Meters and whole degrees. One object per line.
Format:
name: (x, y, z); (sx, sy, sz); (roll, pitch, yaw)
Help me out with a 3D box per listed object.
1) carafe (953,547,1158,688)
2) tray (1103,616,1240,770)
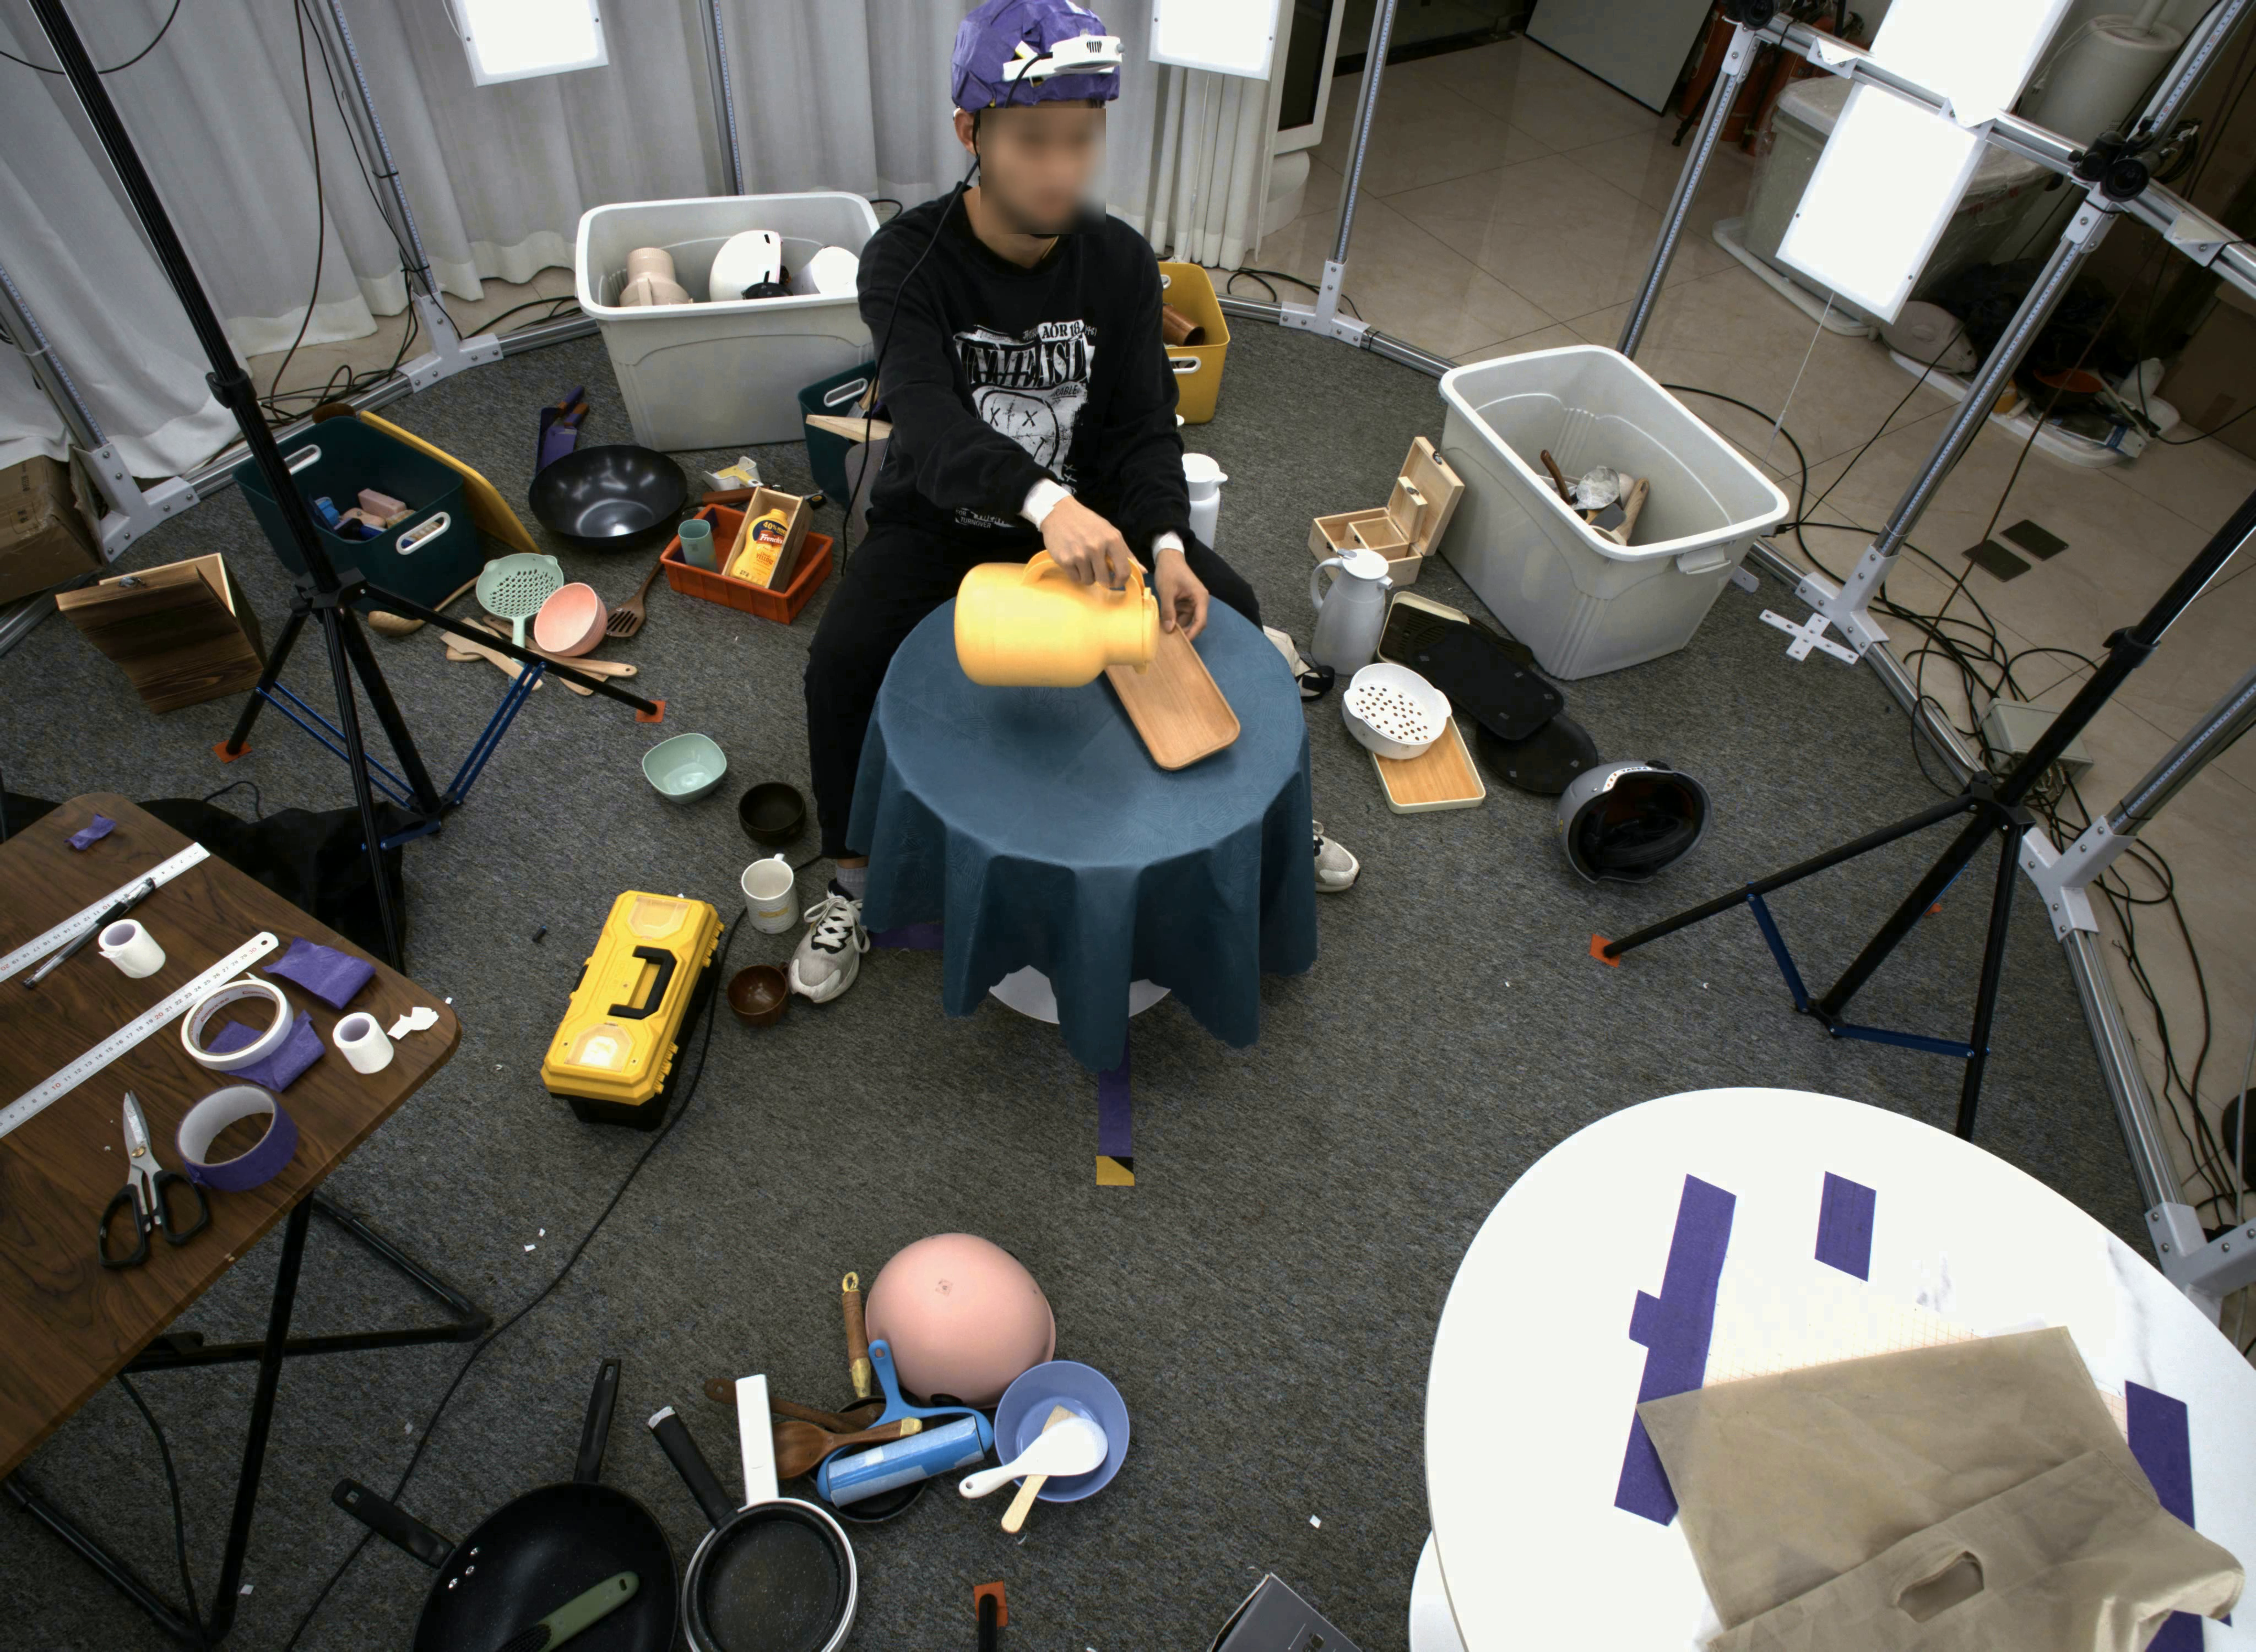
carafe: (-0.092, -0.277, 1.677); (0.260, 0.197, 0.167); (3, 46, 6)
tray: (0.056, -0.190, 1.800); (0.130, 0.022, 0.256); (-22, 56, -6)
